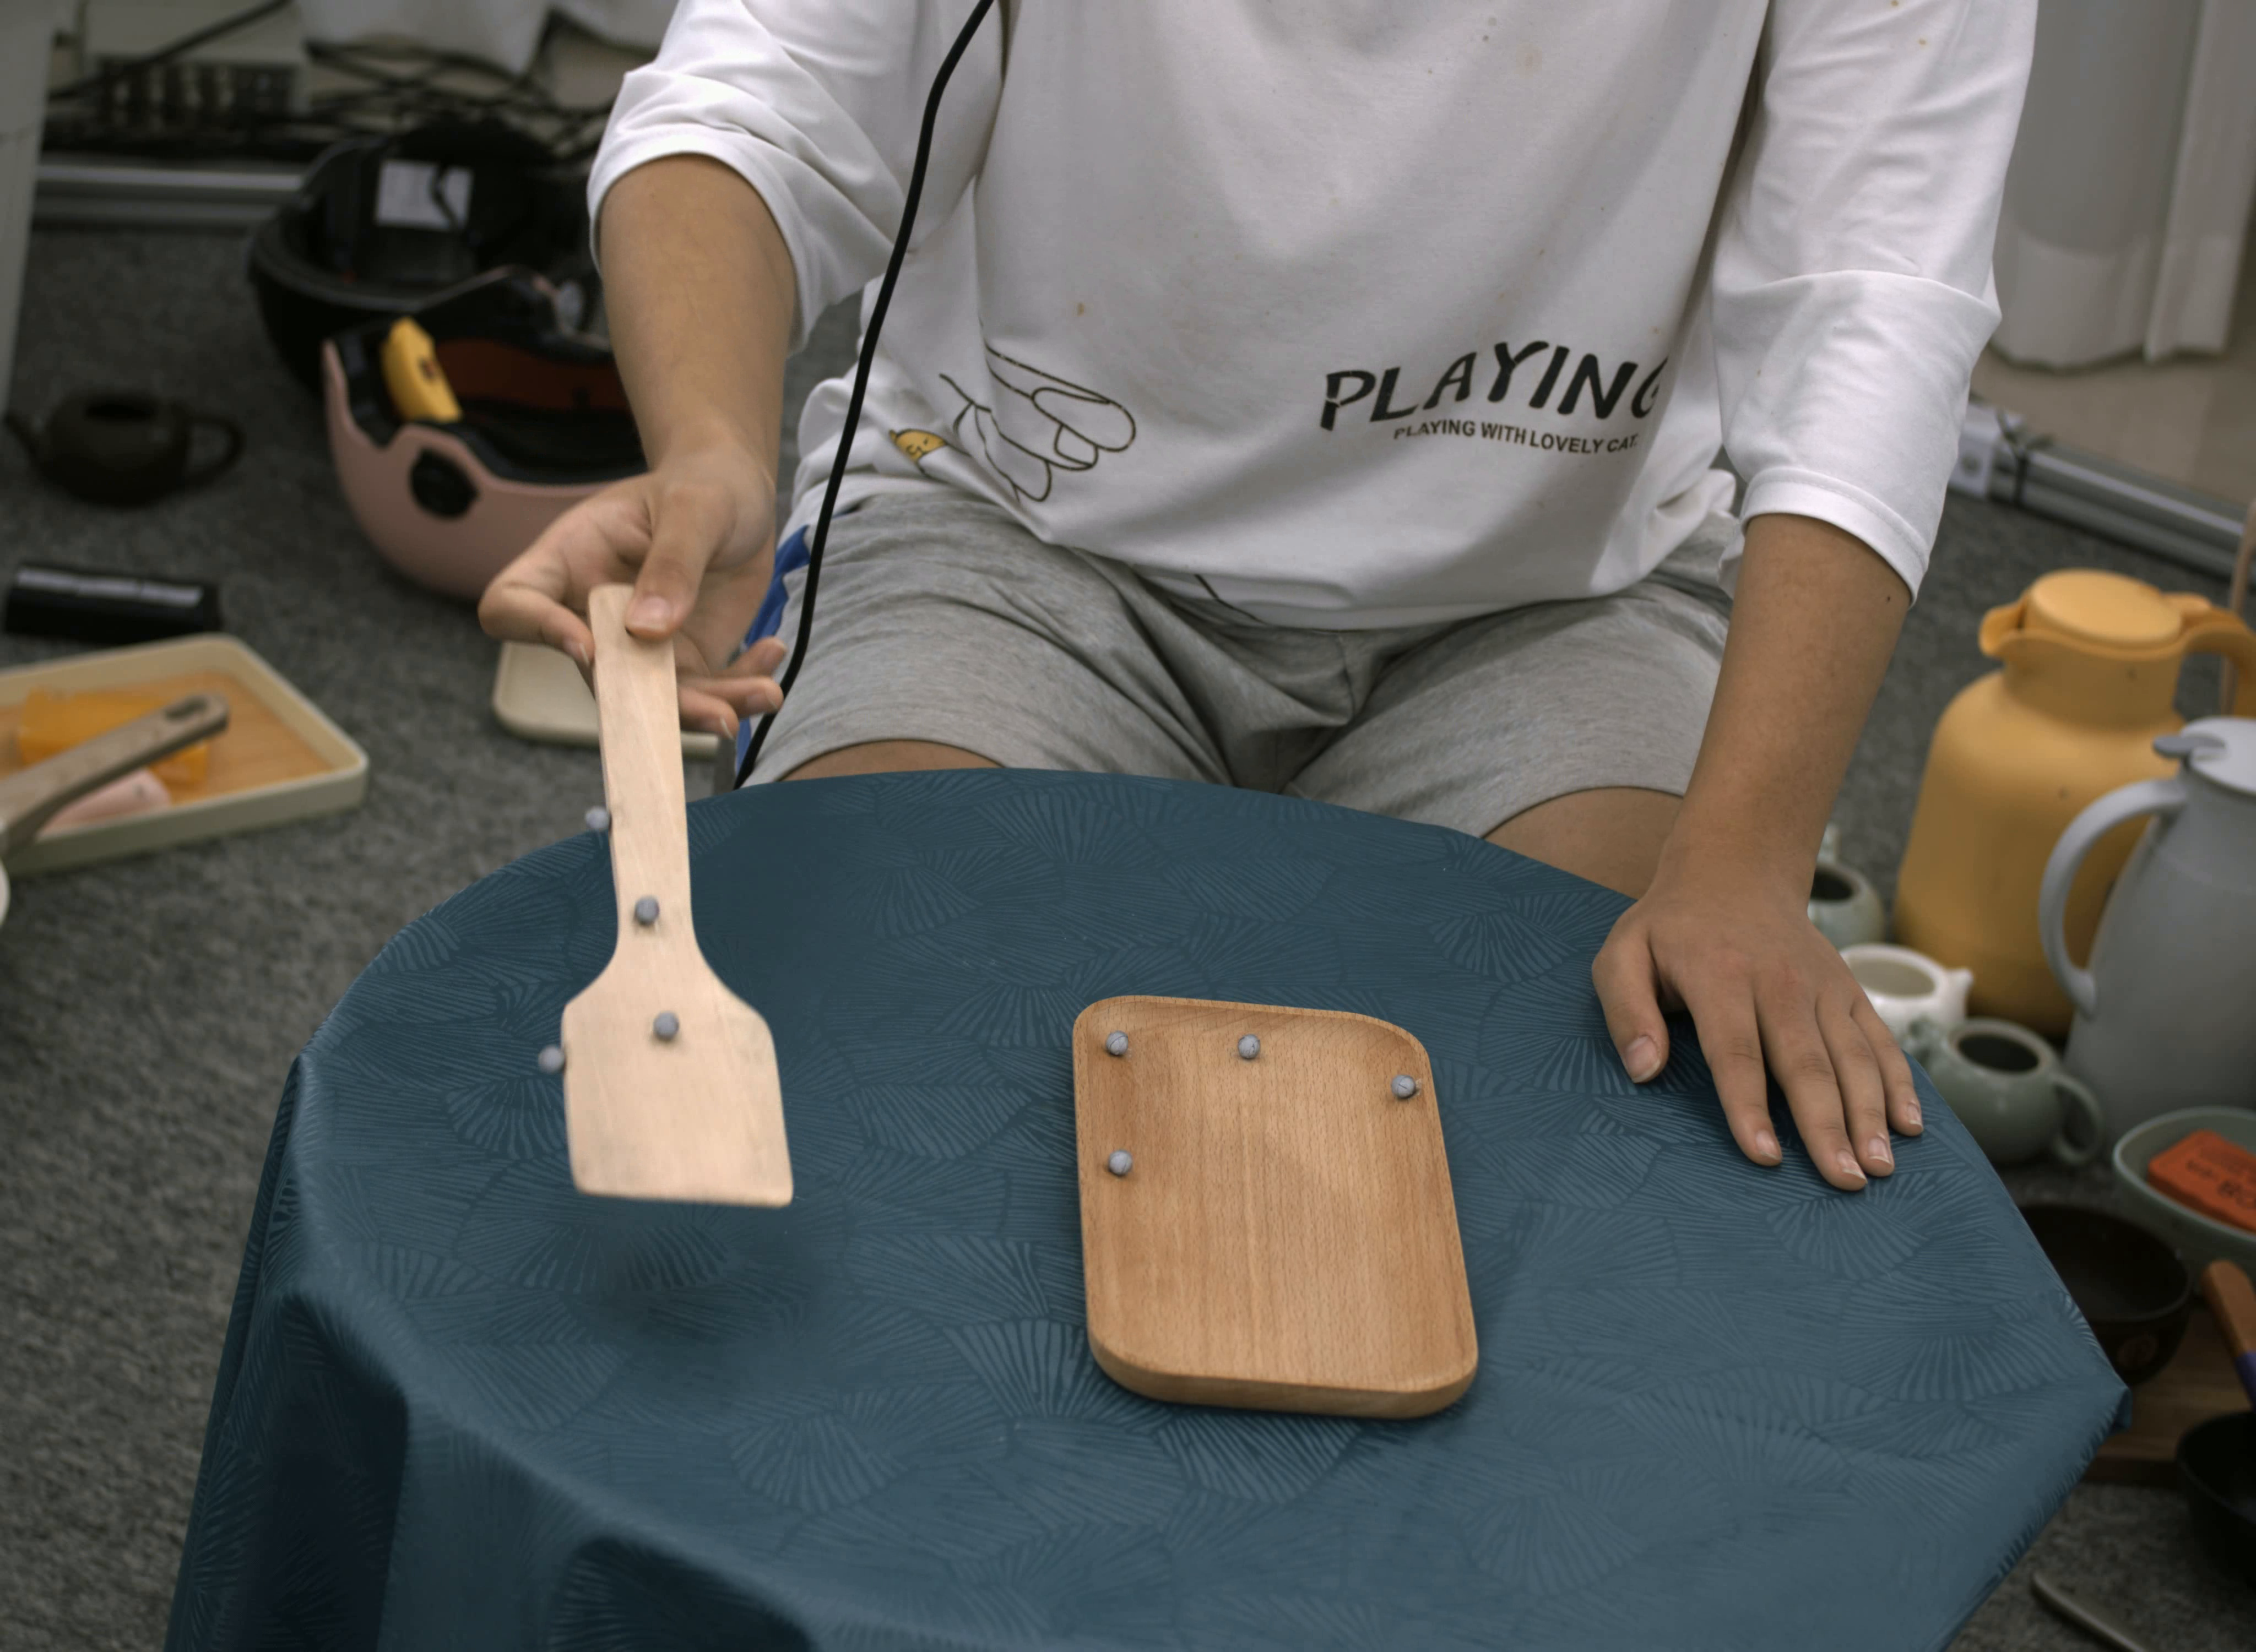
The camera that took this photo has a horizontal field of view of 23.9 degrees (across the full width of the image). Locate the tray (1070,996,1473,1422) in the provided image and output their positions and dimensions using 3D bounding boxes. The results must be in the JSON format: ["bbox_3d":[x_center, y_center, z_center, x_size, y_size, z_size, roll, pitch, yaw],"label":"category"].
[{"bbox_3d":[0.045,0.126,1.794,0.130,0.023,0.252,3,27,-2],"label":"tray"}]

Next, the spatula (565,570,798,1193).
[{"bbox_3d":[-0.157,0.013,1.768,0.072,0.010,0.296,4,43,-14],"label":"spatula"}]
